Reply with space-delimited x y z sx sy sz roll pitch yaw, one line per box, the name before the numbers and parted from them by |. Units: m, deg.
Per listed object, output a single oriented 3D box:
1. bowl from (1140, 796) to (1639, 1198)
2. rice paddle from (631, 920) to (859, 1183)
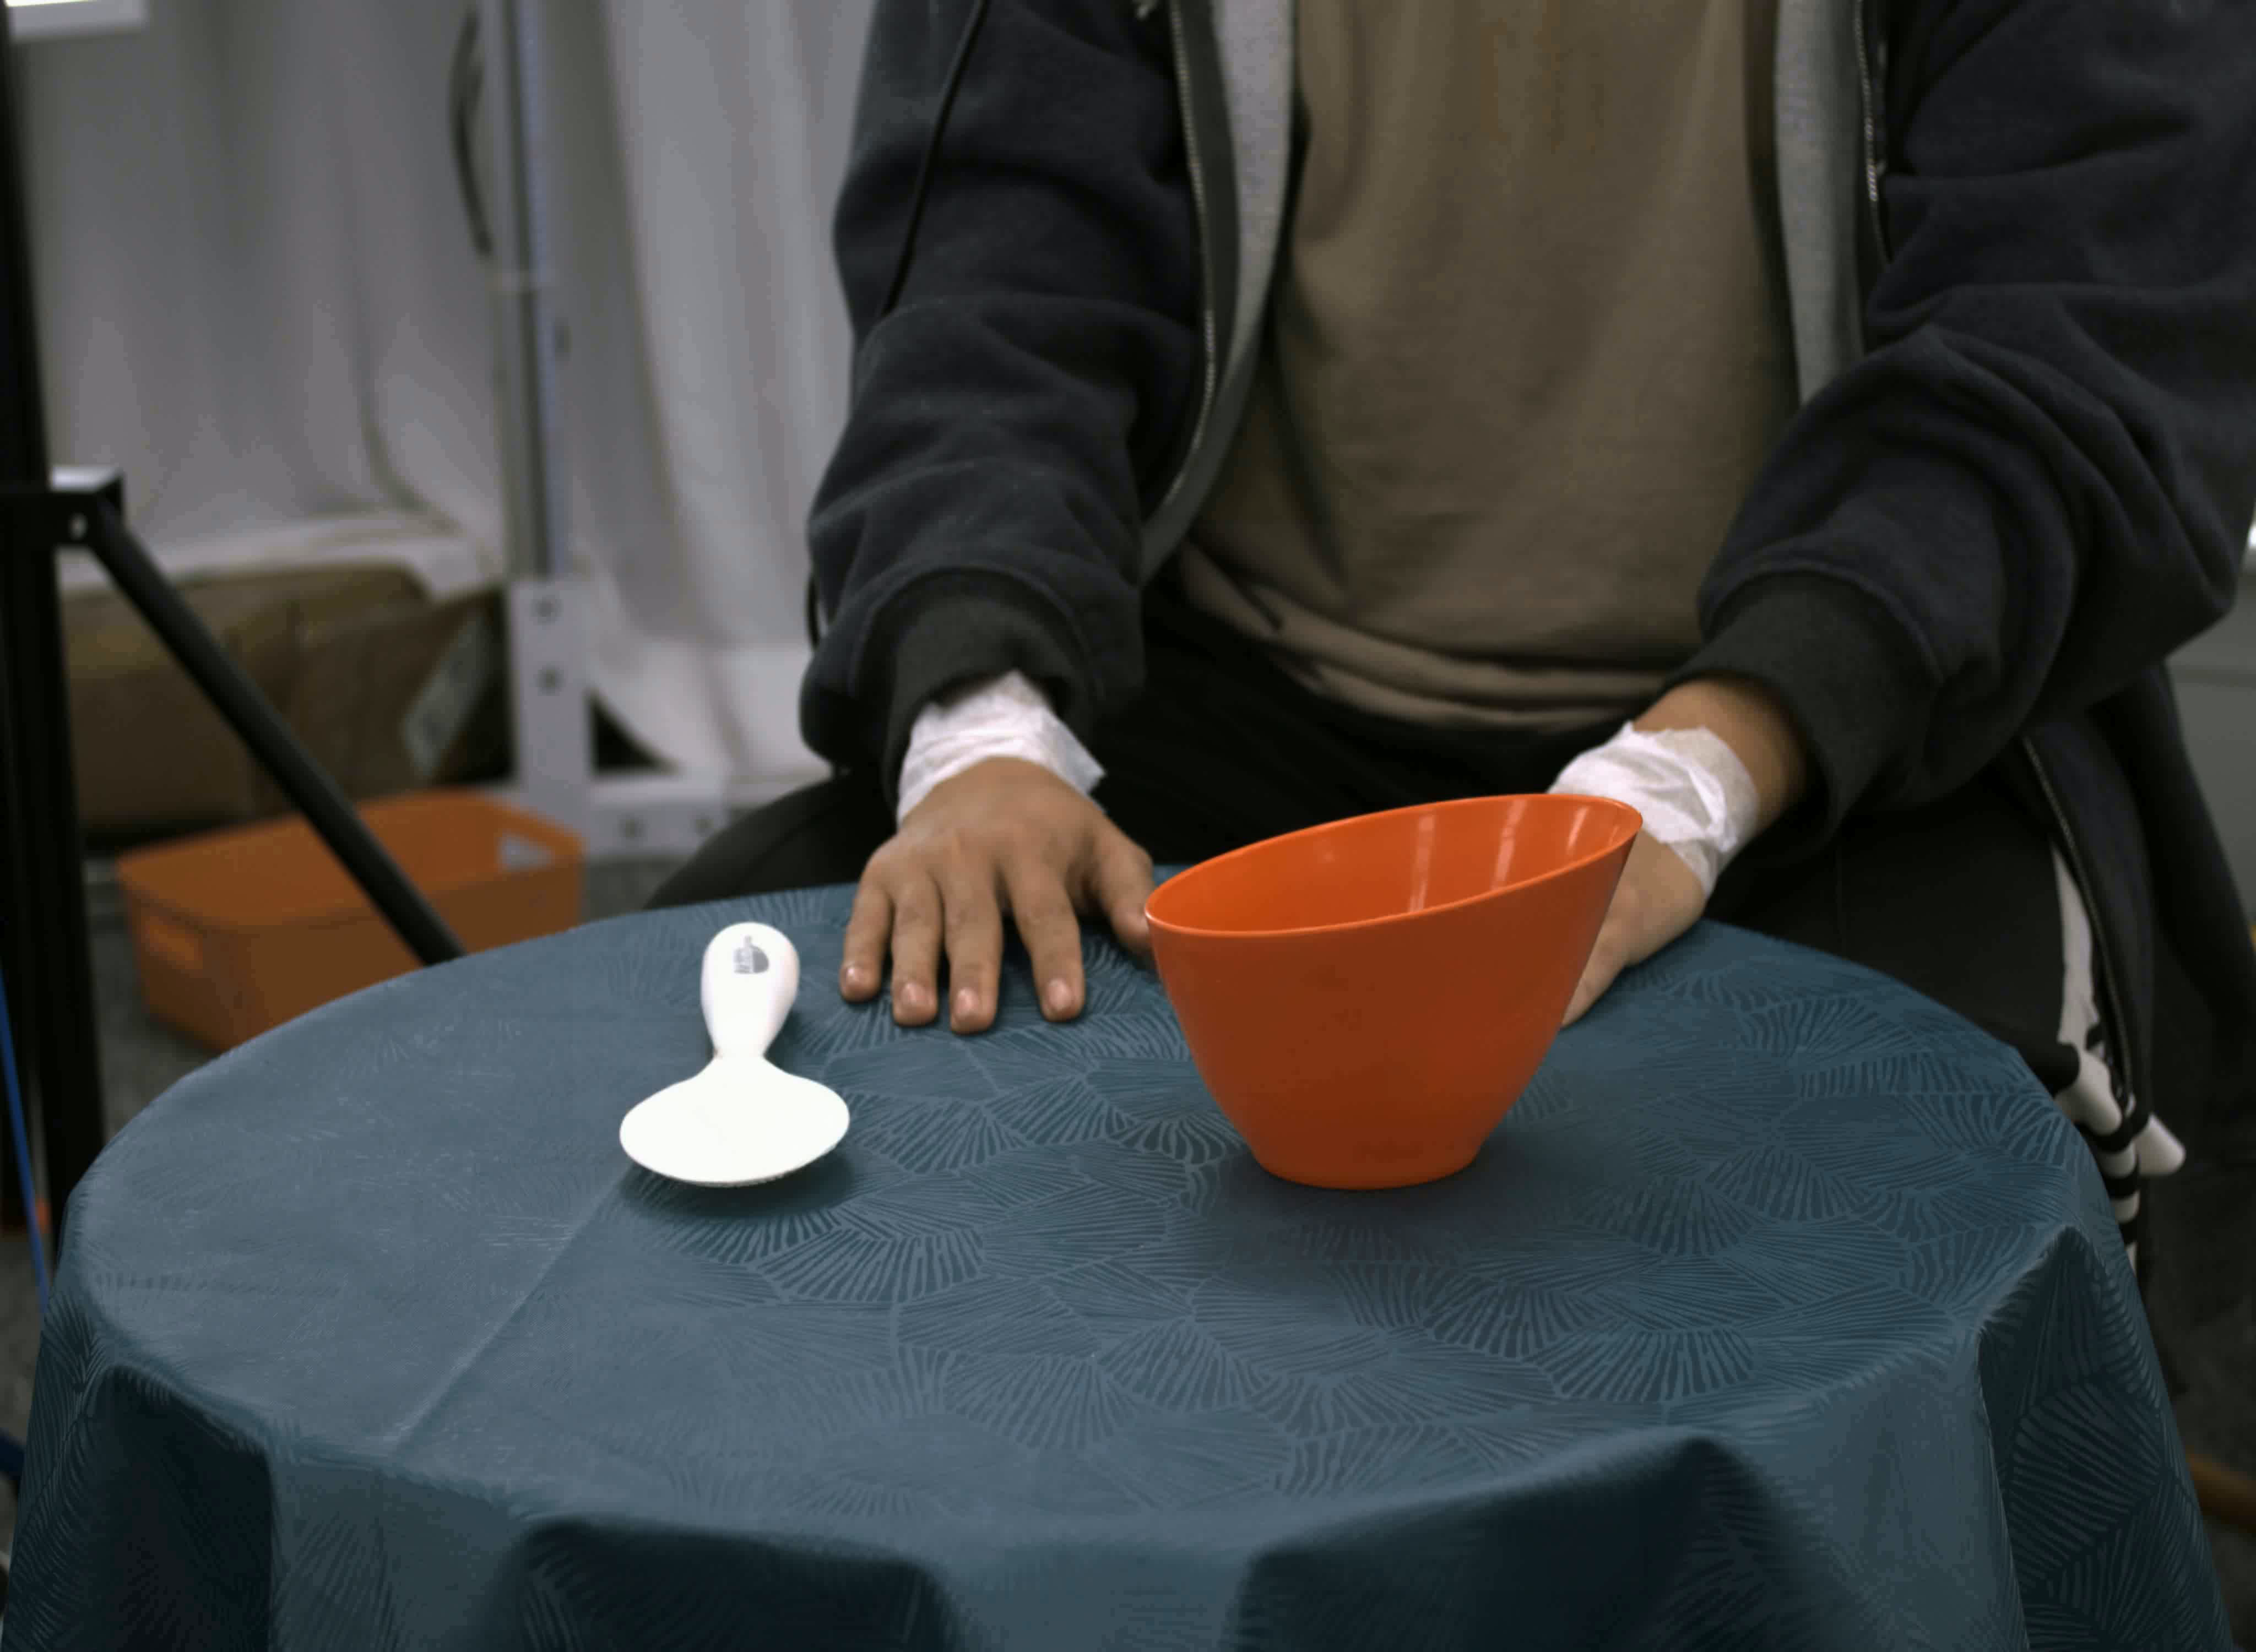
bowl | 0.078 0.051 1.563 0.147 0.104 0.149 -4 16 0
rice paddle | -0.118 0.072 1.651 0.068 0.029 0.206 -4 16 -2
